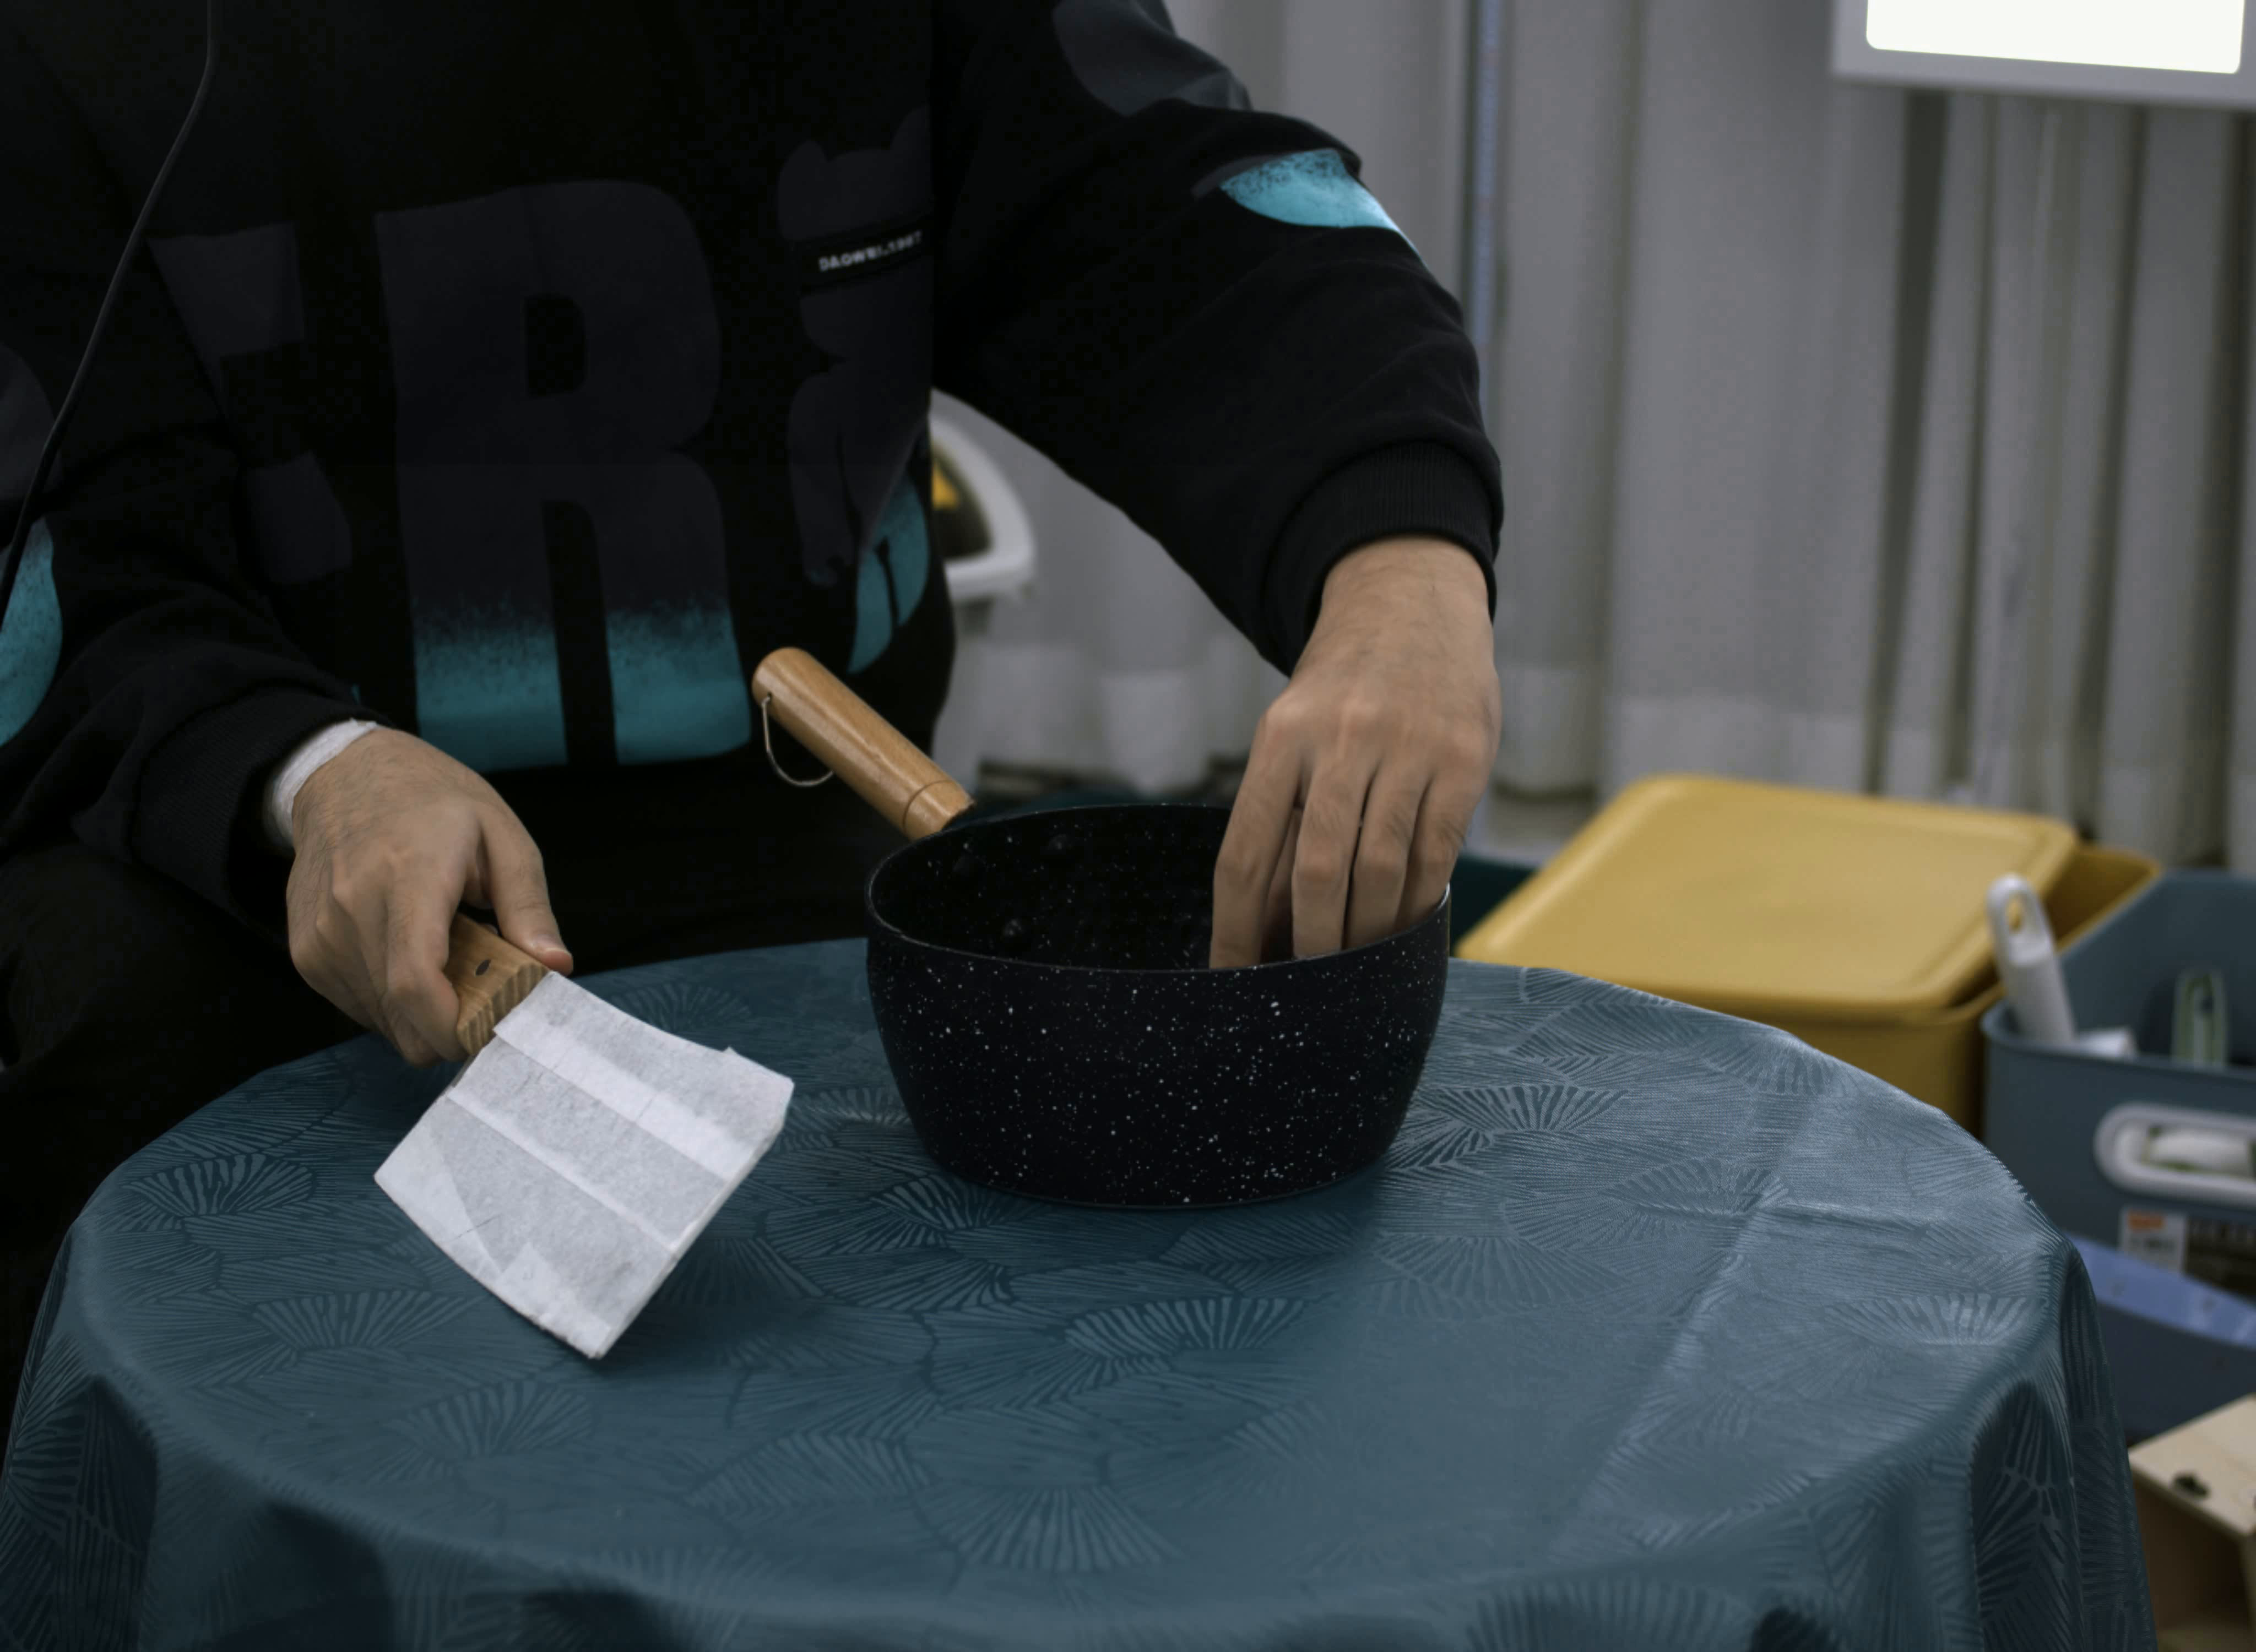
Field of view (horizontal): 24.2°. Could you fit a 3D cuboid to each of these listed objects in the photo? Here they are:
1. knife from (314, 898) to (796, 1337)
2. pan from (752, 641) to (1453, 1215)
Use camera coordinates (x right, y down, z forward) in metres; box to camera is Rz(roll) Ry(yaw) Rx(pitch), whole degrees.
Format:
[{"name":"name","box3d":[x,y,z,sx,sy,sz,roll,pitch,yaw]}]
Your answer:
[{"name":"knife","box3d":[-0.186,0.076,1.606,0.114,0.022,0.311,-48,29,-6]},{"name":"pan","box3d":[-0.034,0.028,1.719,0.208,0.109,0.338,-11,21,-32]}]
